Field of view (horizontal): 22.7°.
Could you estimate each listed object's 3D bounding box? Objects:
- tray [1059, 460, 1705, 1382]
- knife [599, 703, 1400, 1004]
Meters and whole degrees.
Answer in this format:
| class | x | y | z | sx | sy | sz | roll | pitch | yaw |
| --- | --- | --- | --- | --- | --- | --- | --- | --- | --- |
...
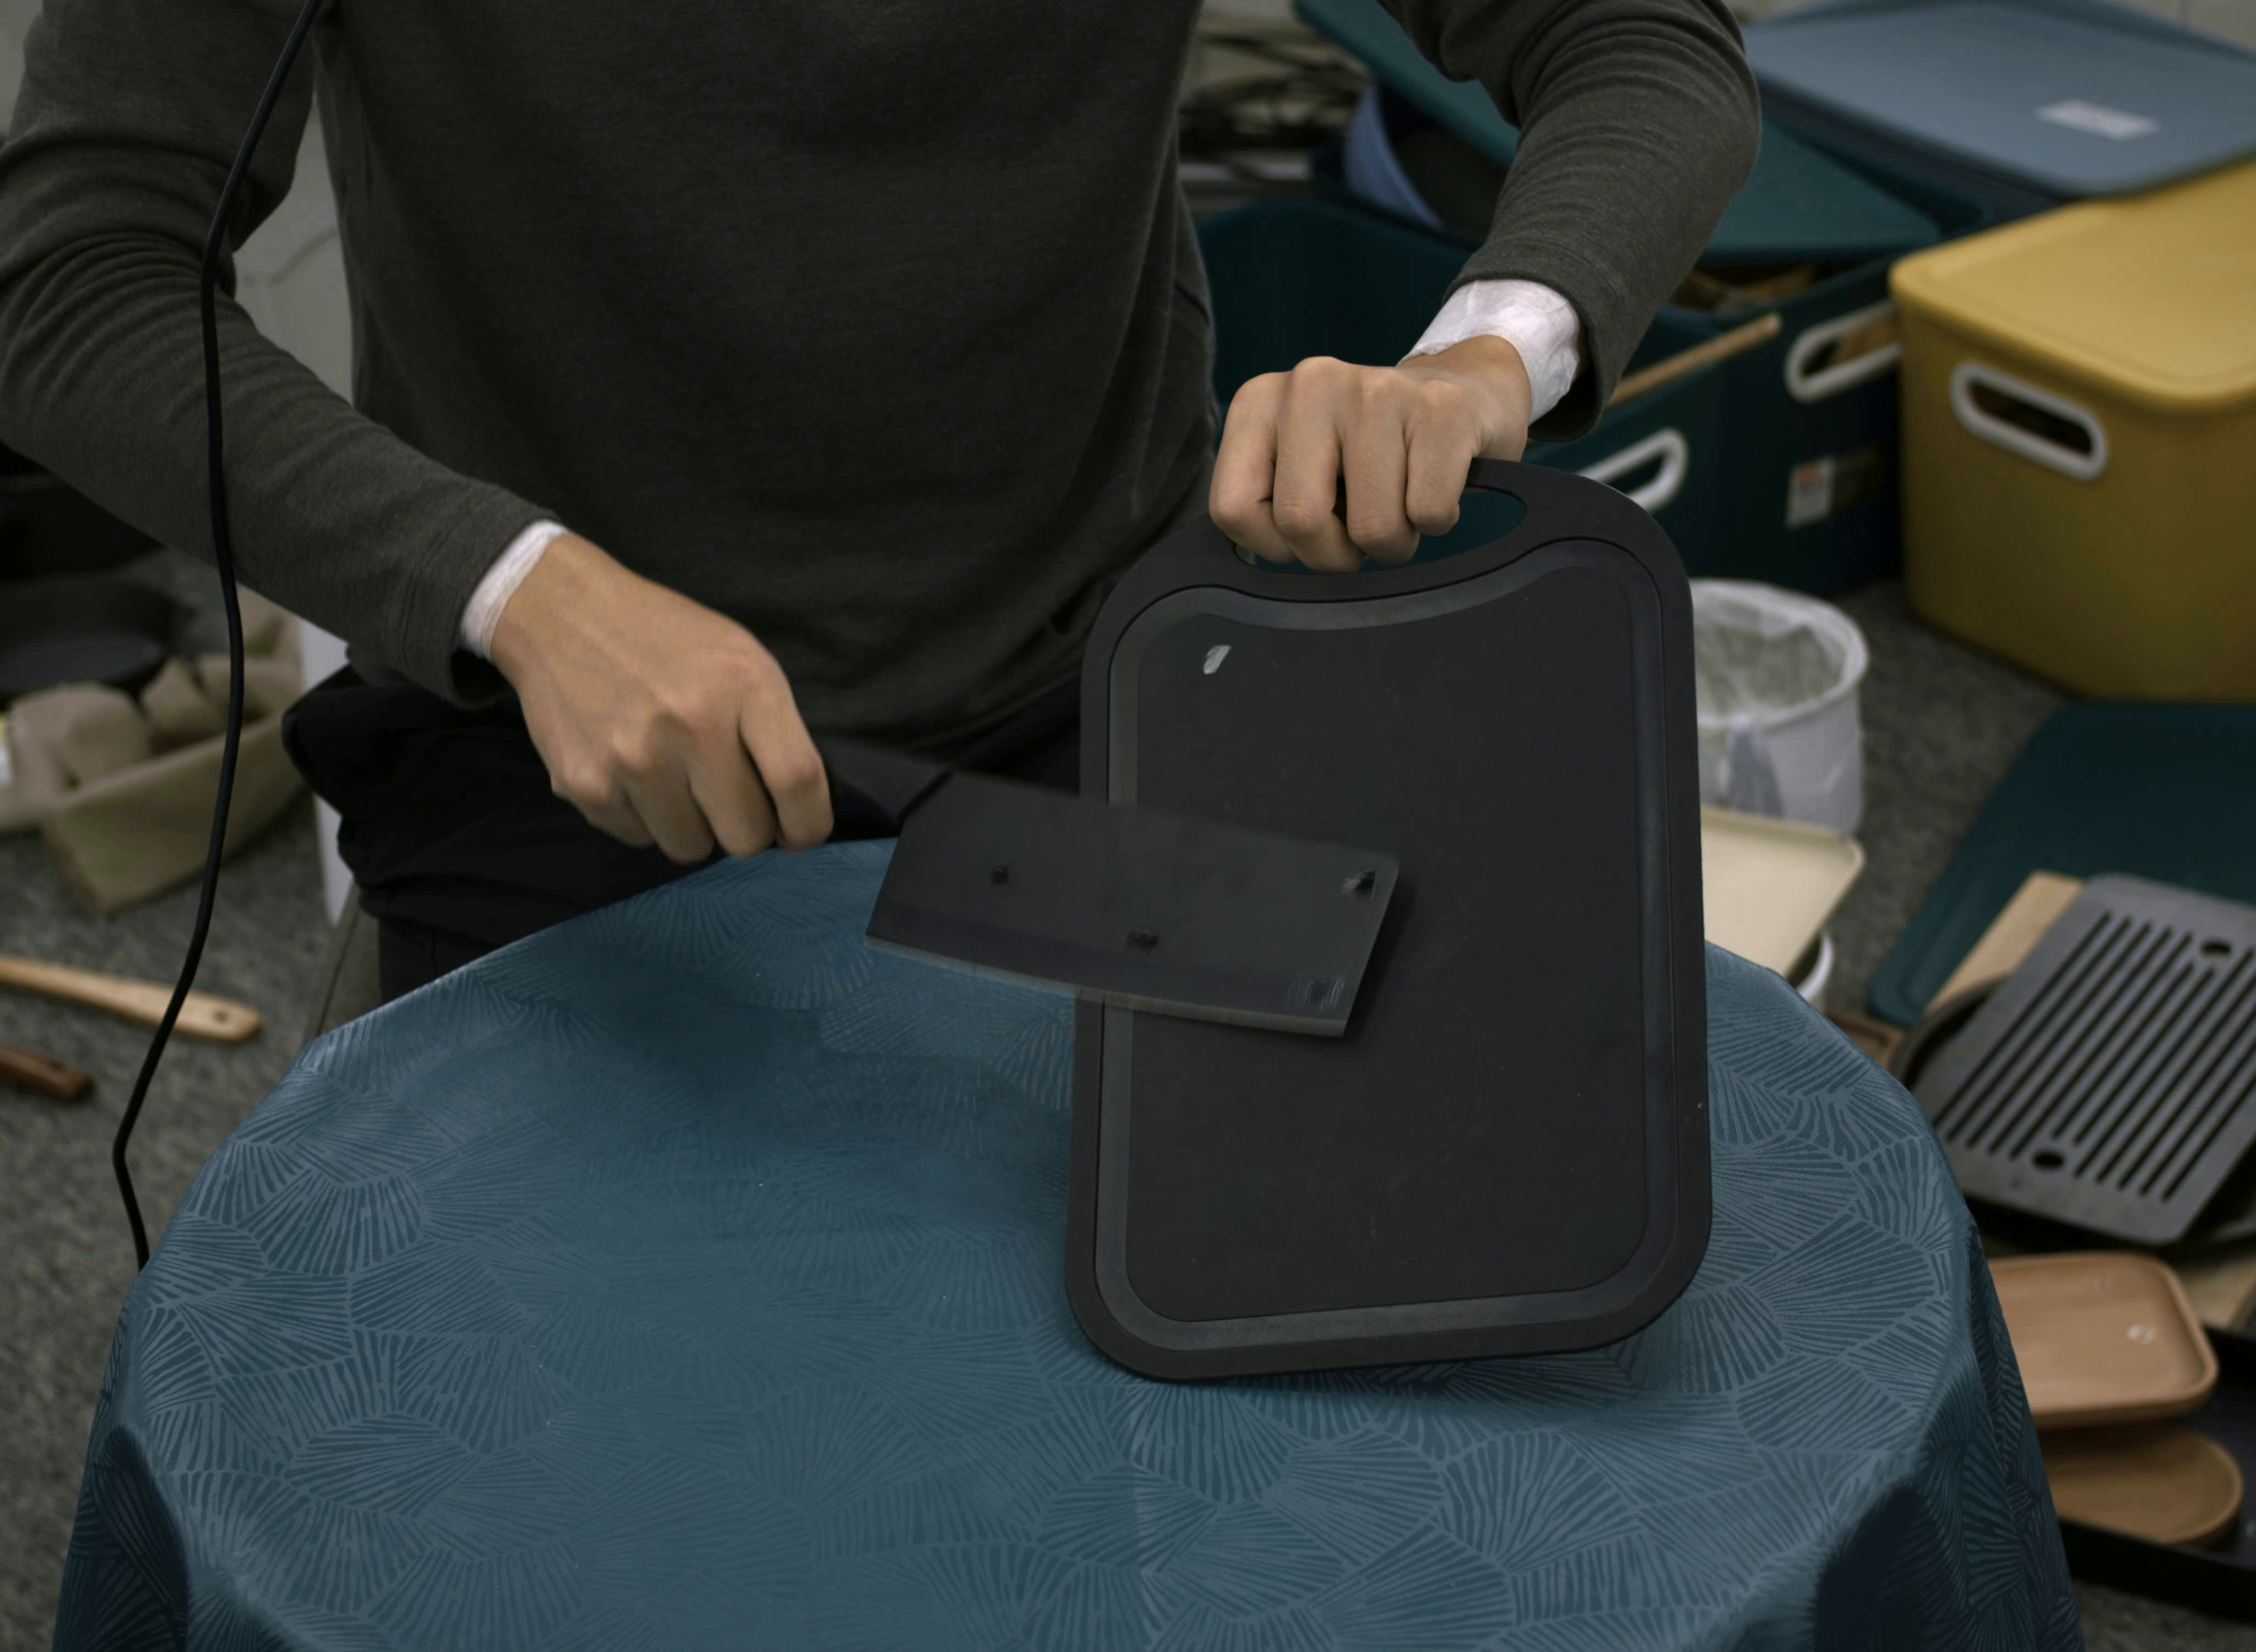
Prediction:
| class | x | y | z | sx | sy | sz | roll | pitch | yaw |
| --- | --- | --- | --- | --- | --- | --- | --- | --- | --- |
| tray | 0.081 | 0.023 | 1.820 | 0.209 | 0.009 | 0.331 | -5 | 61 | 14 |
| knife | -0.049 | 0.006 | 1.875 | 0.301 | 0.020 | 0.082 | 15 | 71 | 28 |
